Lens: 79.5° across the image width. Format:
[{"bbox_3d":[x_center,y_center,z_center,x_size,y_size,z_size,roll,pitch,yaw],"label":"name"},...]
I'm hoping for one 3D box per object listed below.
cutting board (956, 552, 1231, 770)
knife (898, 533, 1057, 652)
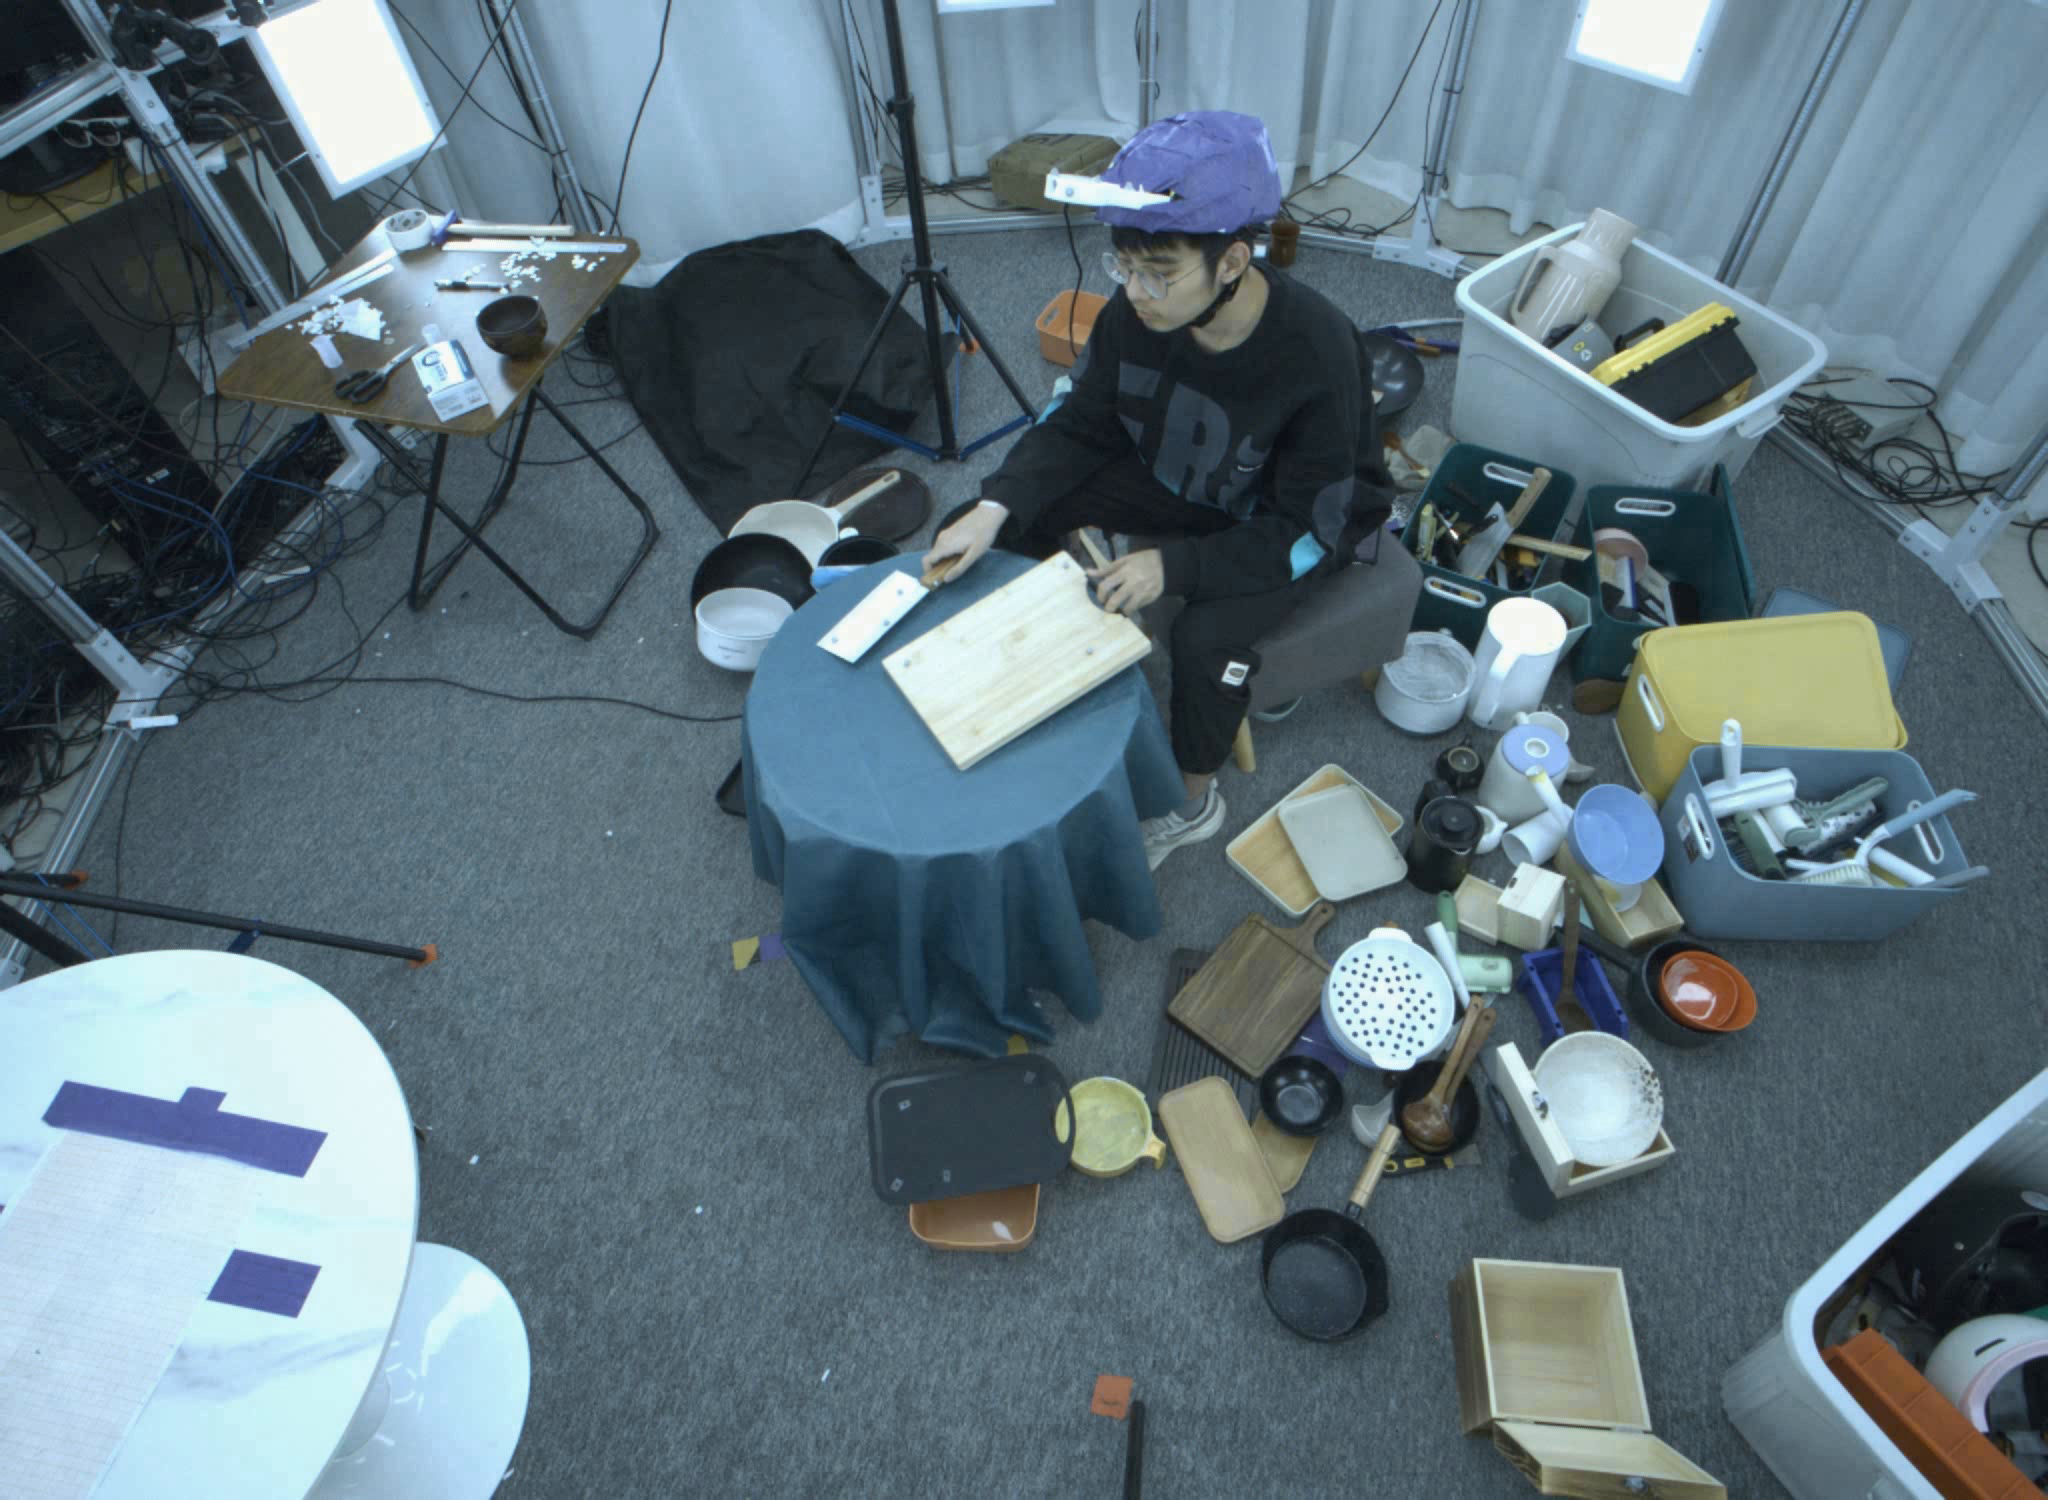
[{"bbox_3d":[0.097,-0.141,1.845,0.350,0.024,0.246,-30,59,-9],"label":"cutting board"},{"bbox_3d":[-0.078,-0.260,1.955,0.091,0.021,0.307,31,63,36],"label":"knife"}]
